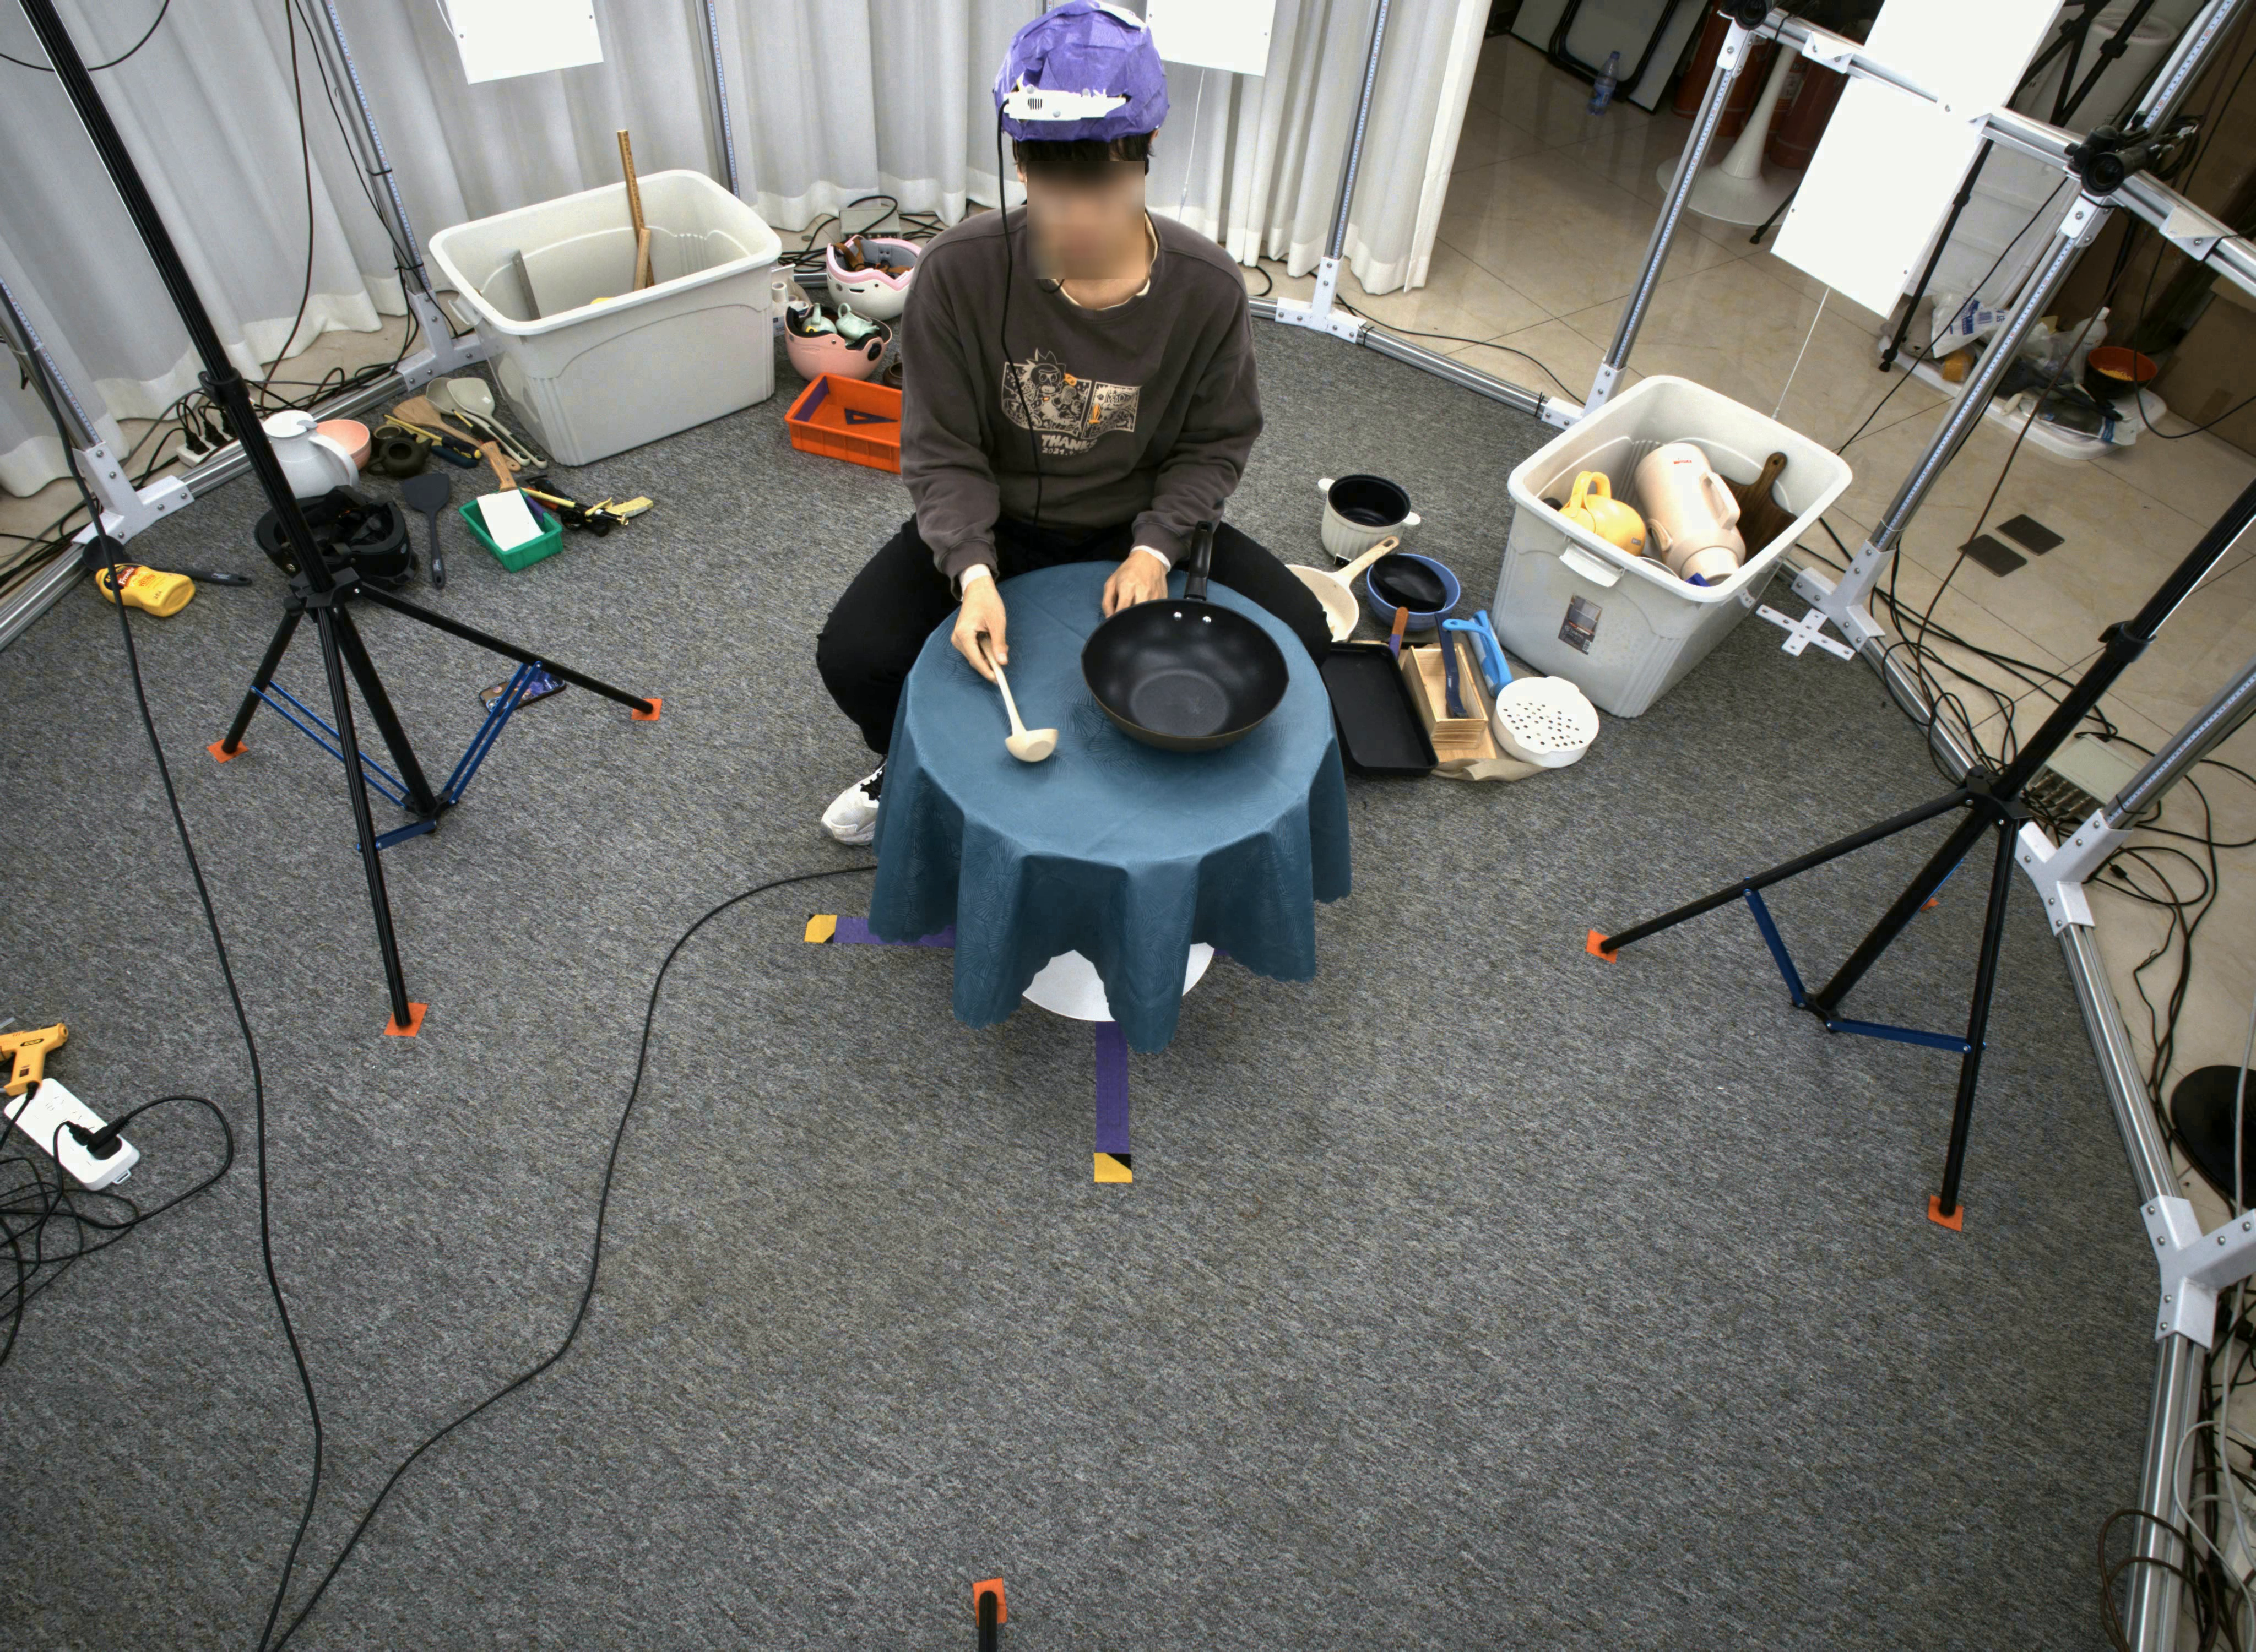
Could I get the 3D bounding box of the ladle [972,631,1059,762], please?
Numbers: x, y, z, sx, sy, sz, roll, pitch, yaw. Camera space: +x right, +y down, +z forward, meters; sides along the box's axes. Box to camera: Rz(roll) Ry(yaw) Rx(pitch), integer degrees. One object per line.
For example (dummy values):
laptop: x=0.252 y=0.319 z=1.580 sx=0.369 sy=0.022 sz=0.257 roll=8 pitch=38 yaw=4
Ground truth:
ladle: x=-0.165 y=-0.198 z=1.764 sx=0.072 sy=0.071 sz=0.260 roll=-13 pitch=59 yaw=-20

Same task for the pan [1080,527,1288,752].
pan: x=0.086 y=-0.264 z=1.848 sx=0.288 sy=0.085 sz=0.474 roll=7 pitch=48 yaw=3
